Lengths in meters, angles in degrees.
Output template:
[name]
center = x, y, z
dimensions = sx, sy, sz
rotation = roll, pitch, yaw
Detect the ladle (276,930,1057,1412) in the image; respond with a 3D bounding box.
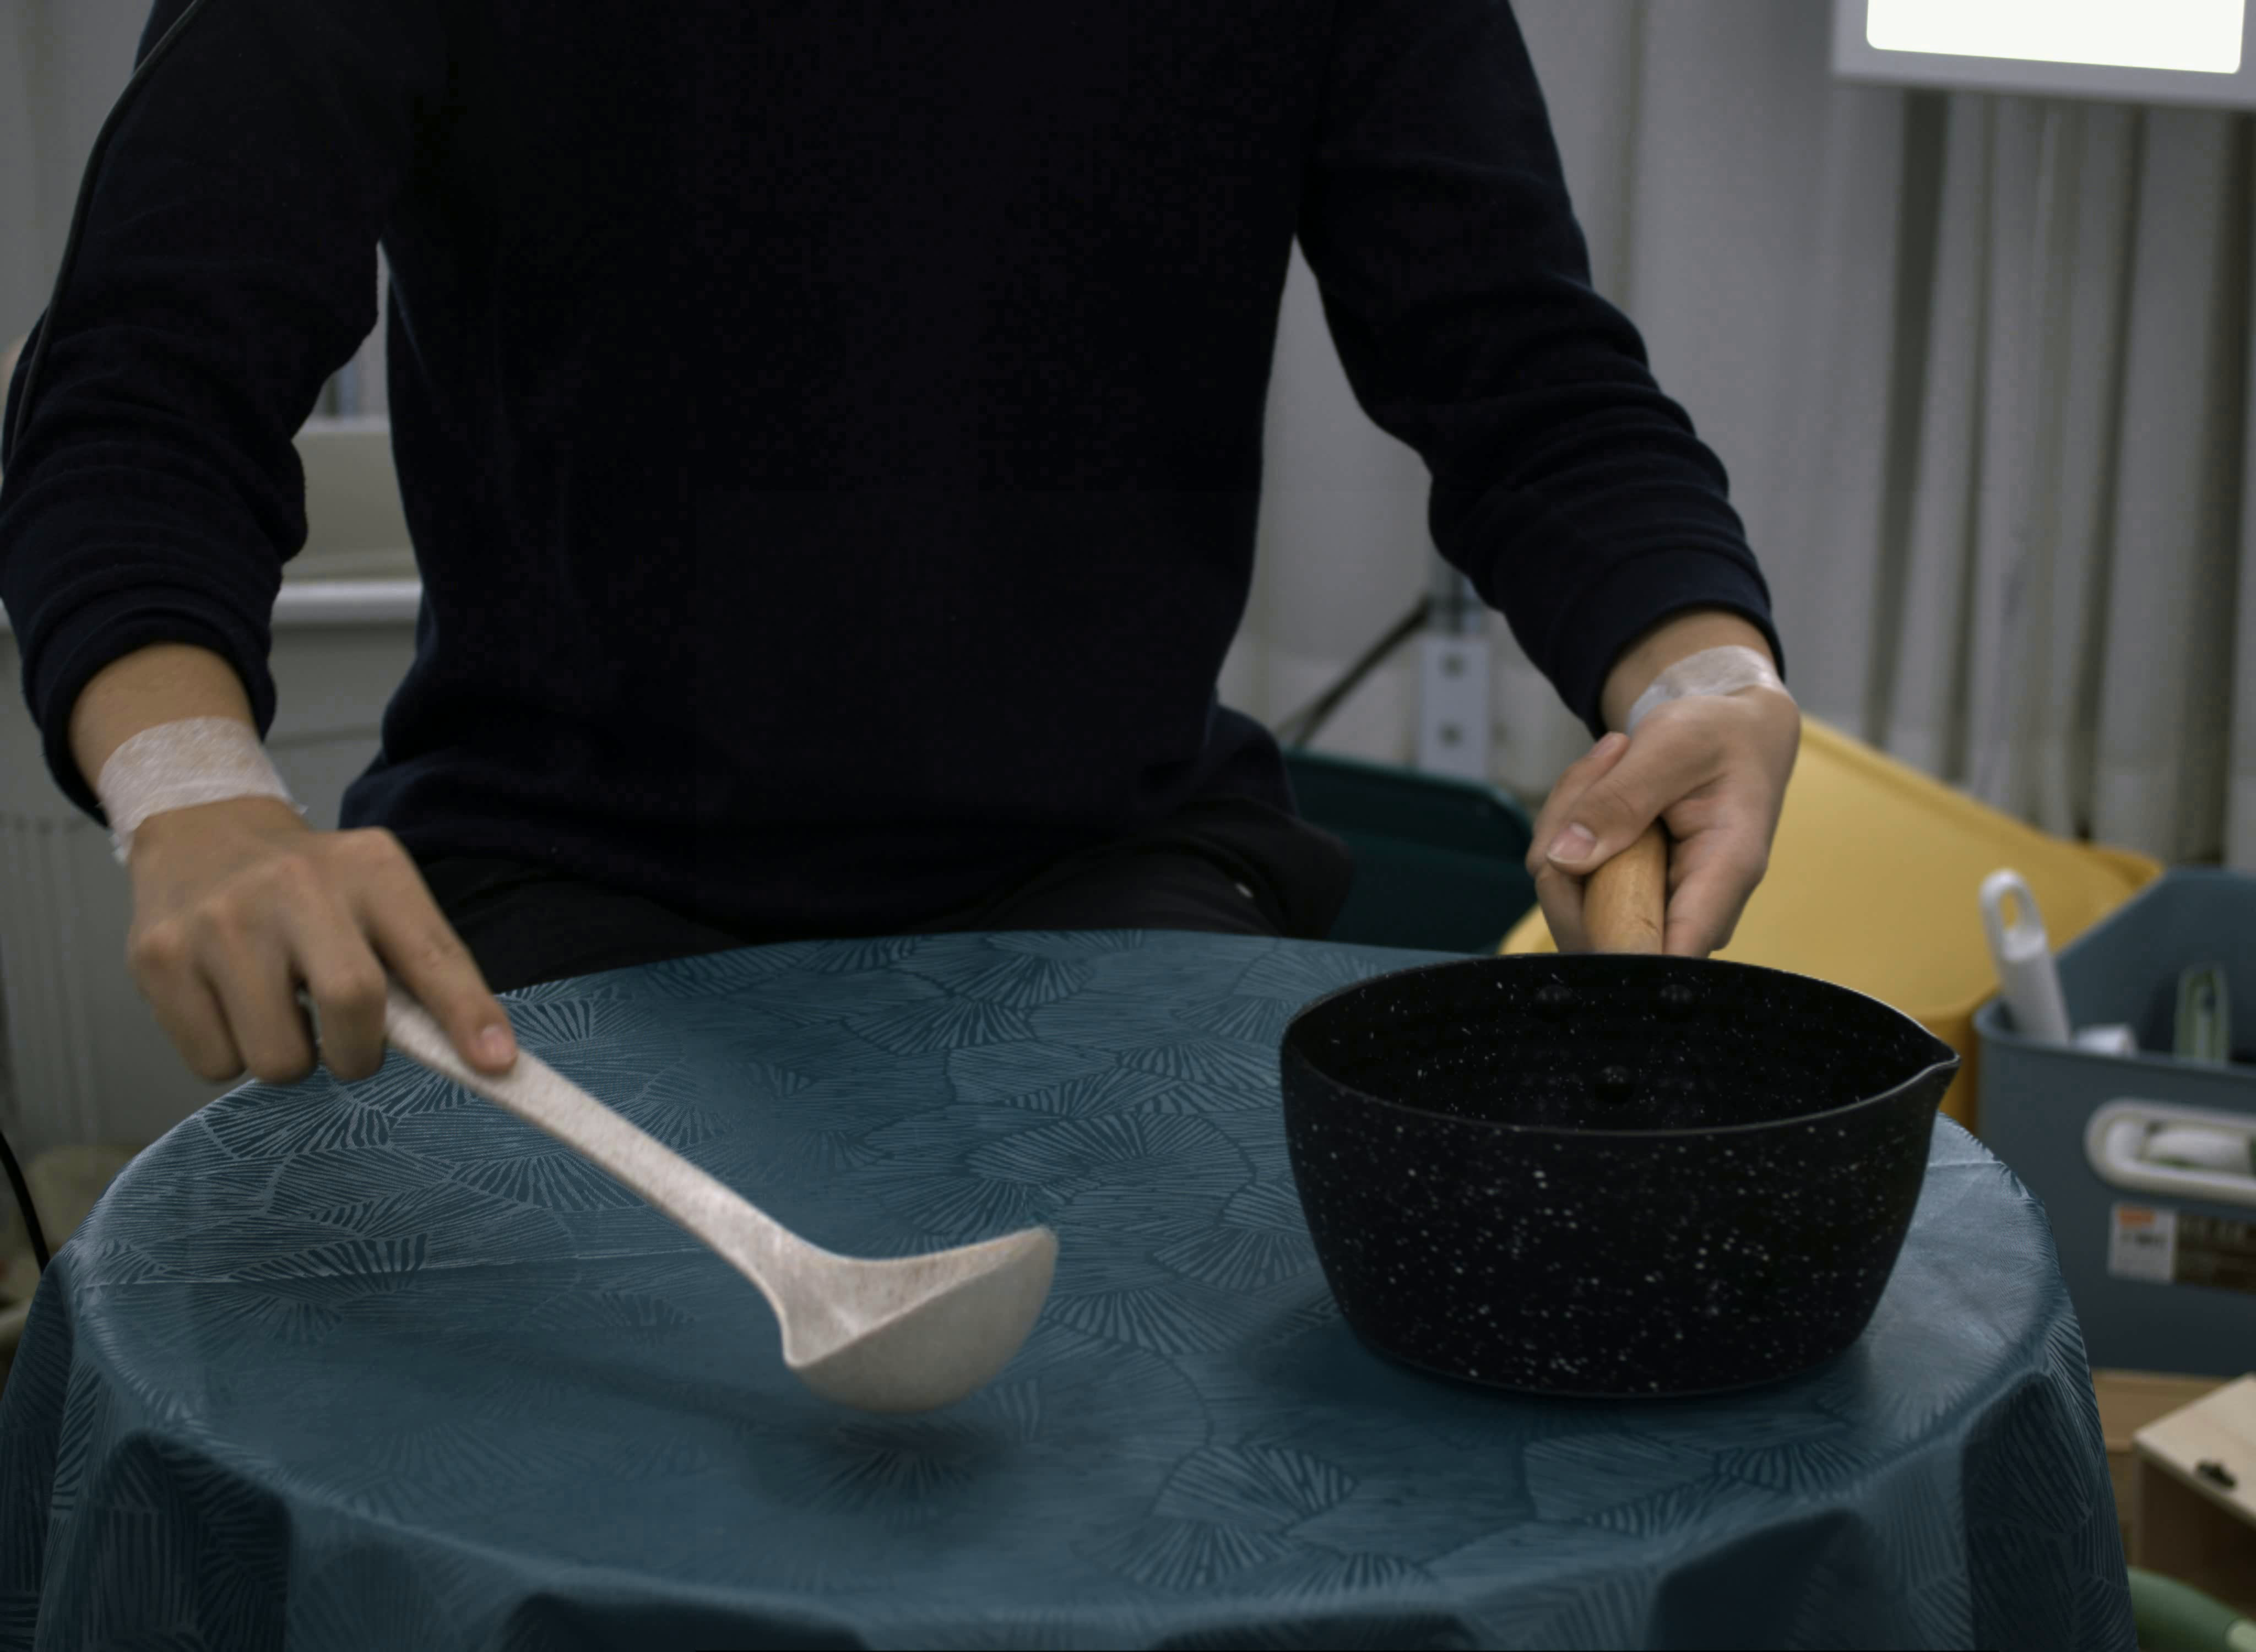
[ladle]
center = -0.137, 0.072, 1.452
dimensions = 0.271, 0.070, 0.089
rotation = 32, 43, 26

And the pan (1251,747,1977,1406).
[pan]
center = 0.144, 0.069, 1.580
dimensions = 0.206, 0.109, 0.341
rotation = 0, 16, 5
